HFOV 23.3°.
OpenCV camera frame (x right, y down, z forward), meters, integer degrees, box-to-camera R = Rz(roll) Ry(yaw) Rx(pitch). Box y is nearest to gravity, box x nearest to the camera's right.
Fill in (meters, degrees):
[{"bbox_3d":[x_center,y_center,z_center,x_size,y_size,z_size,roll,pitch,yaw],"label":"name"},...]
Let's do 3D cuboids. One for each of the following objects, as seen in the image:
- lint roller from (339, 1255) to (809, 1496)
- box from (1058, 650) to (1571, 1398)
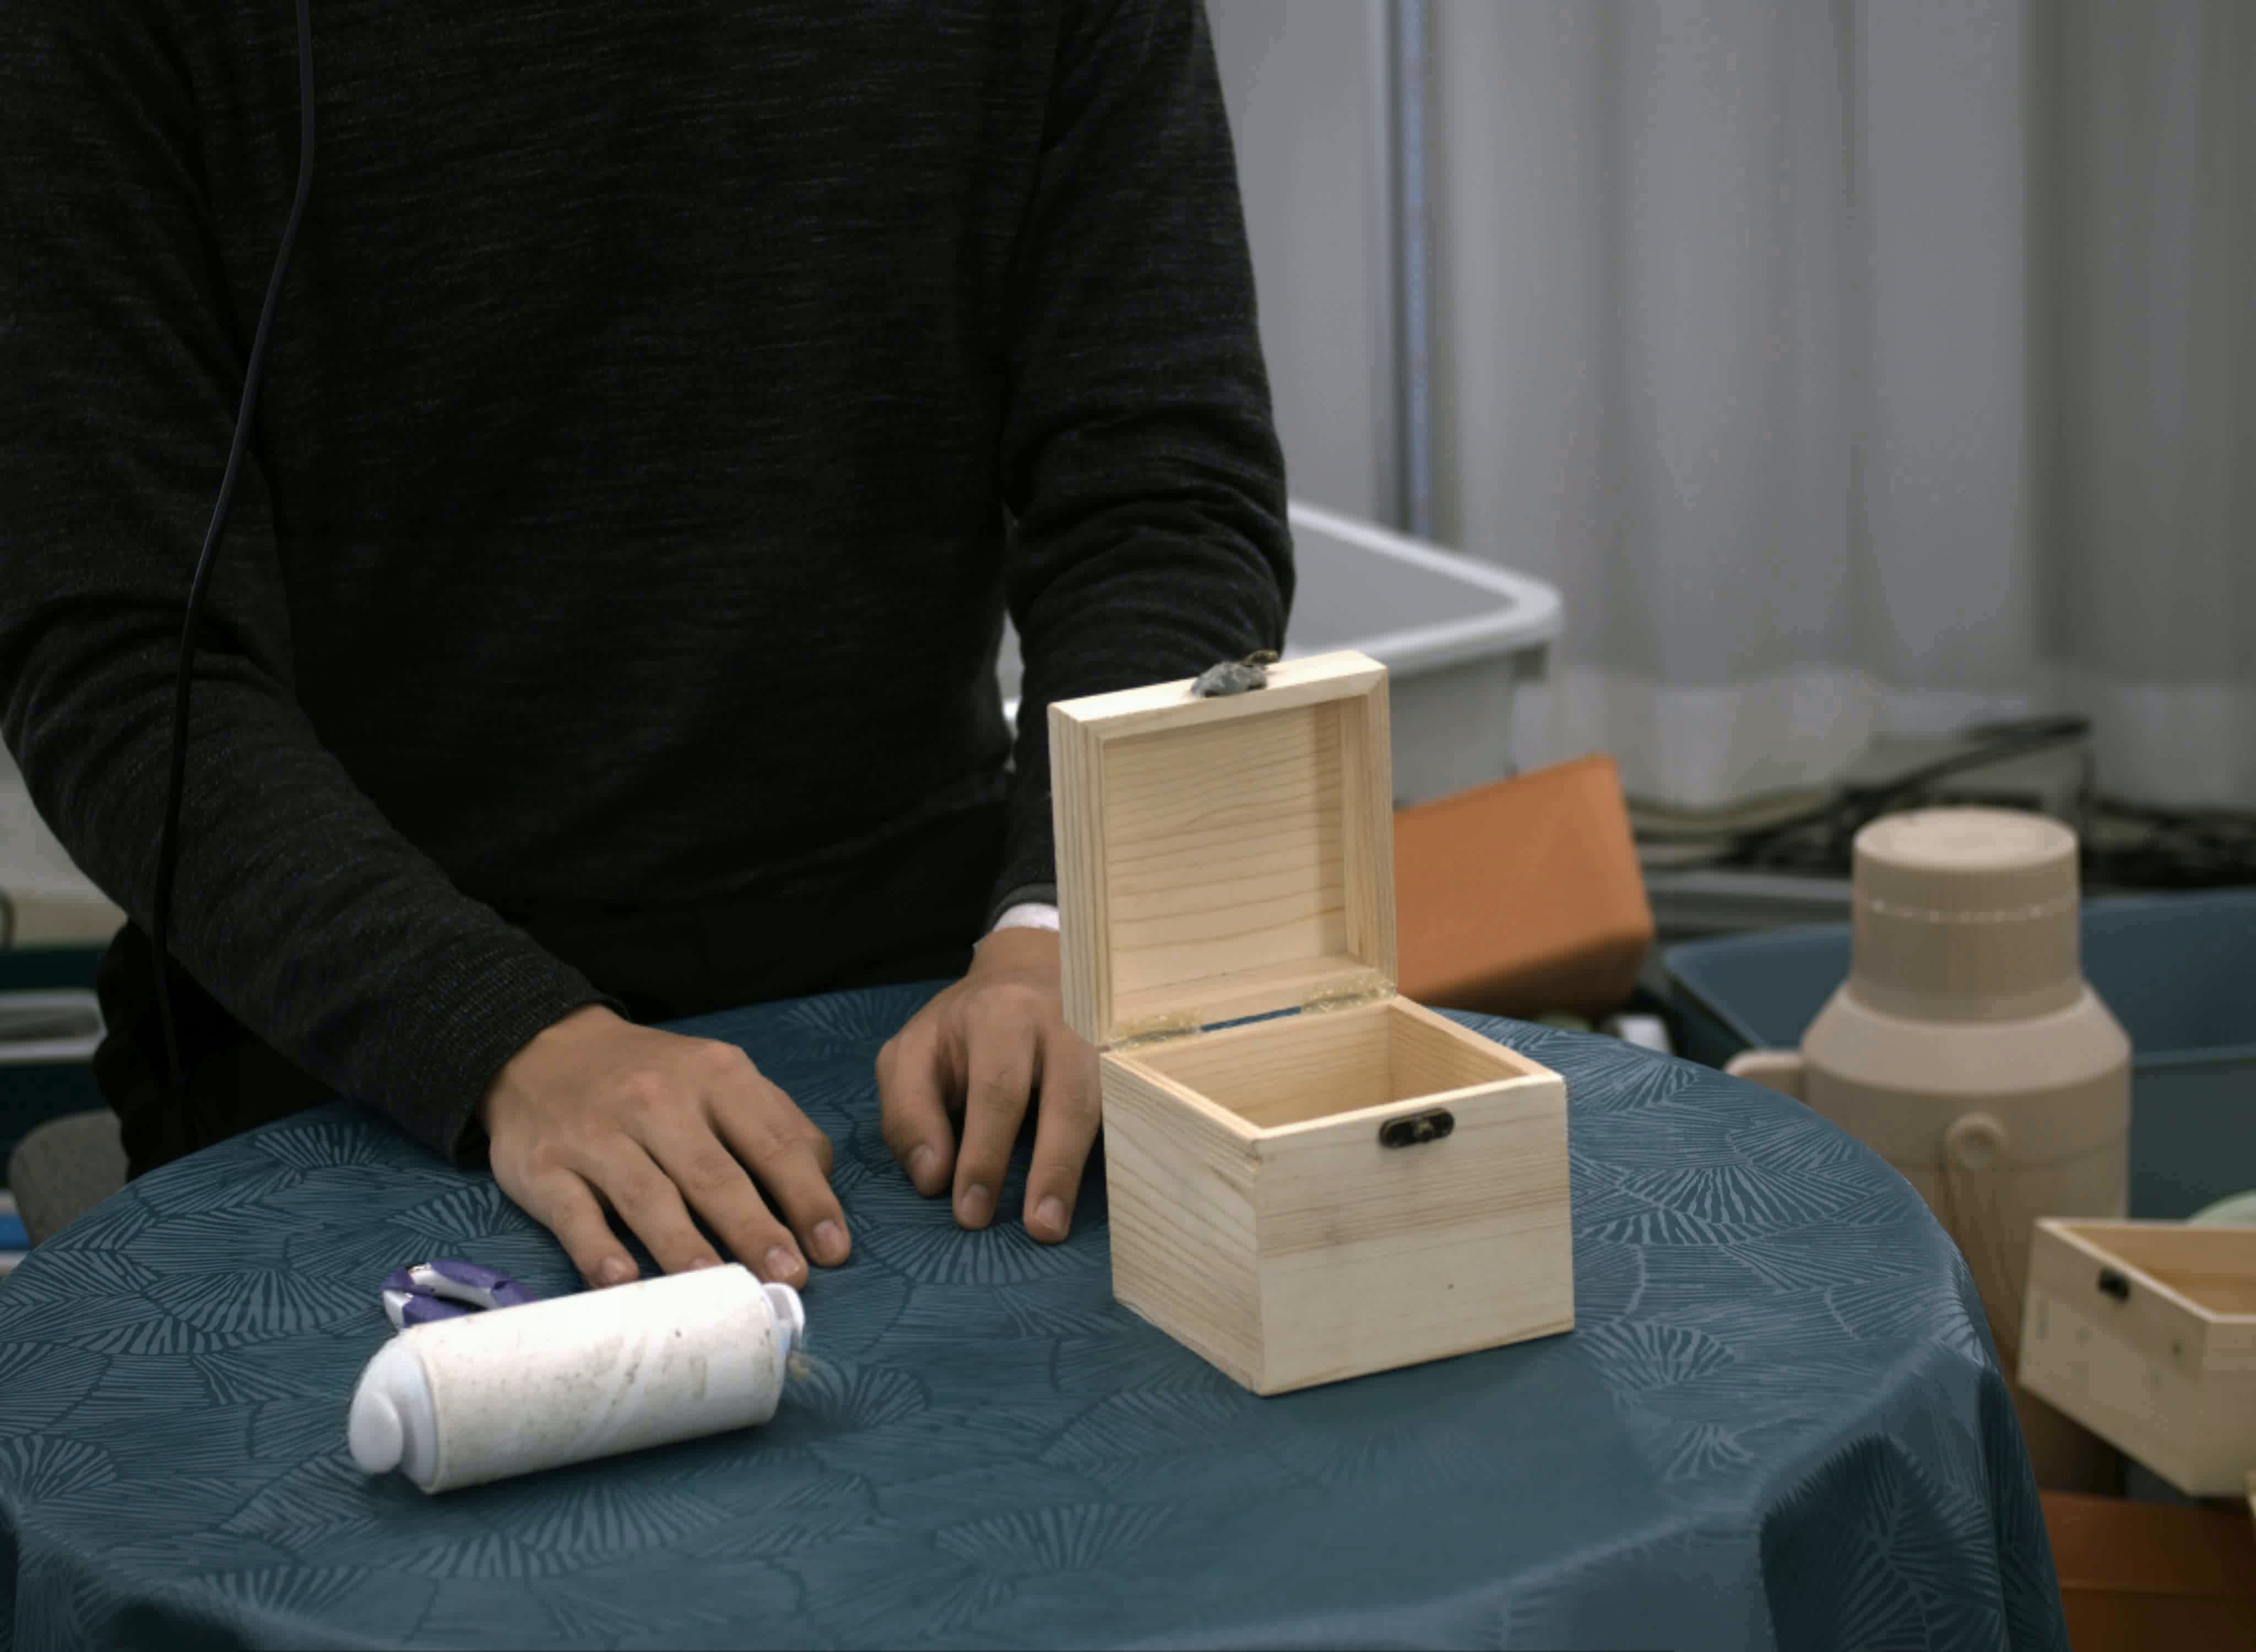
[{"bbox_3d":[-0.177,0.138,1.570,0.132,0.050,0.182,-10,18,-22],"label":"lint roller"},{"bbox_3d":[0.054,0.053,1.581,0.102,0.184,0.135,-9,14,-24],"label":"box"}]
